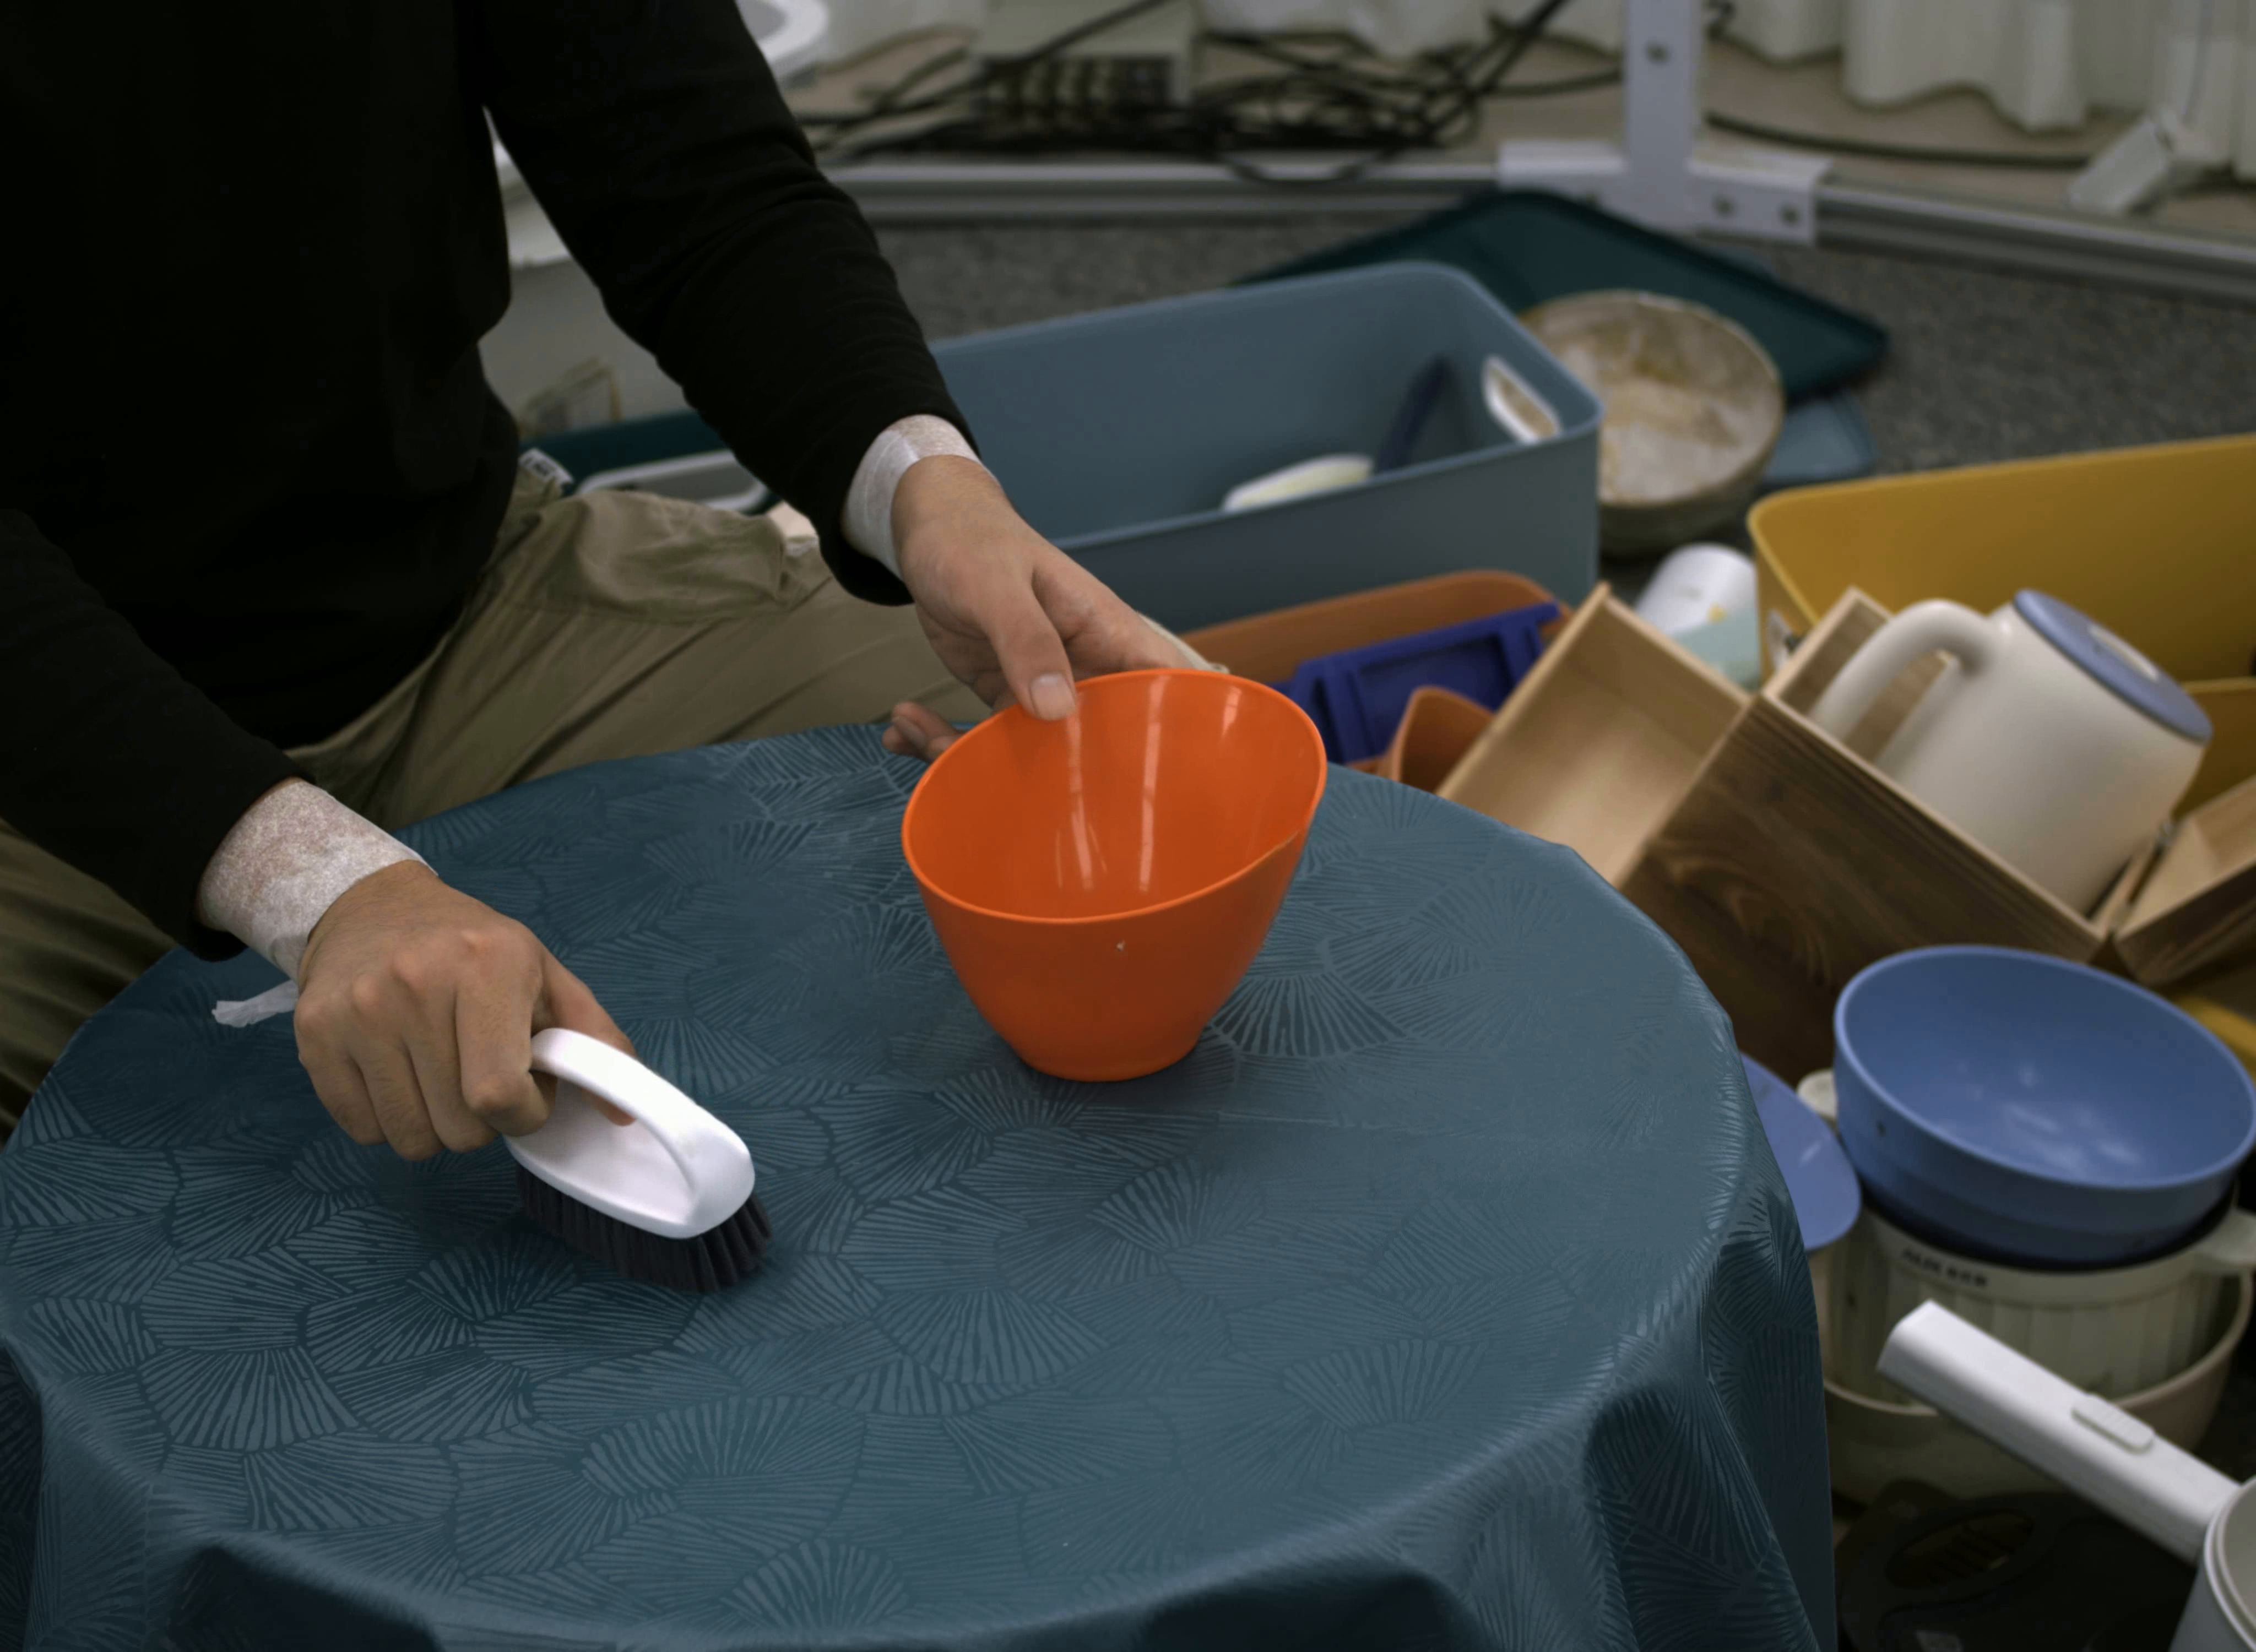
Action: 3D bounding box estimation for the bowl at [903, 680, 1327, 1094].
[{"bbox_3d":[-0.001,0.028,1.938,0.147,0.103,0.150,-3,27,2],"label":"bowl"}]

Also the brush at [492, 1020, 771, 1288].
[{"bbox_3d":[-0.166,0.099,1.823,0.099,0.071,0.051,26,56,35],"label":"brush"}]
